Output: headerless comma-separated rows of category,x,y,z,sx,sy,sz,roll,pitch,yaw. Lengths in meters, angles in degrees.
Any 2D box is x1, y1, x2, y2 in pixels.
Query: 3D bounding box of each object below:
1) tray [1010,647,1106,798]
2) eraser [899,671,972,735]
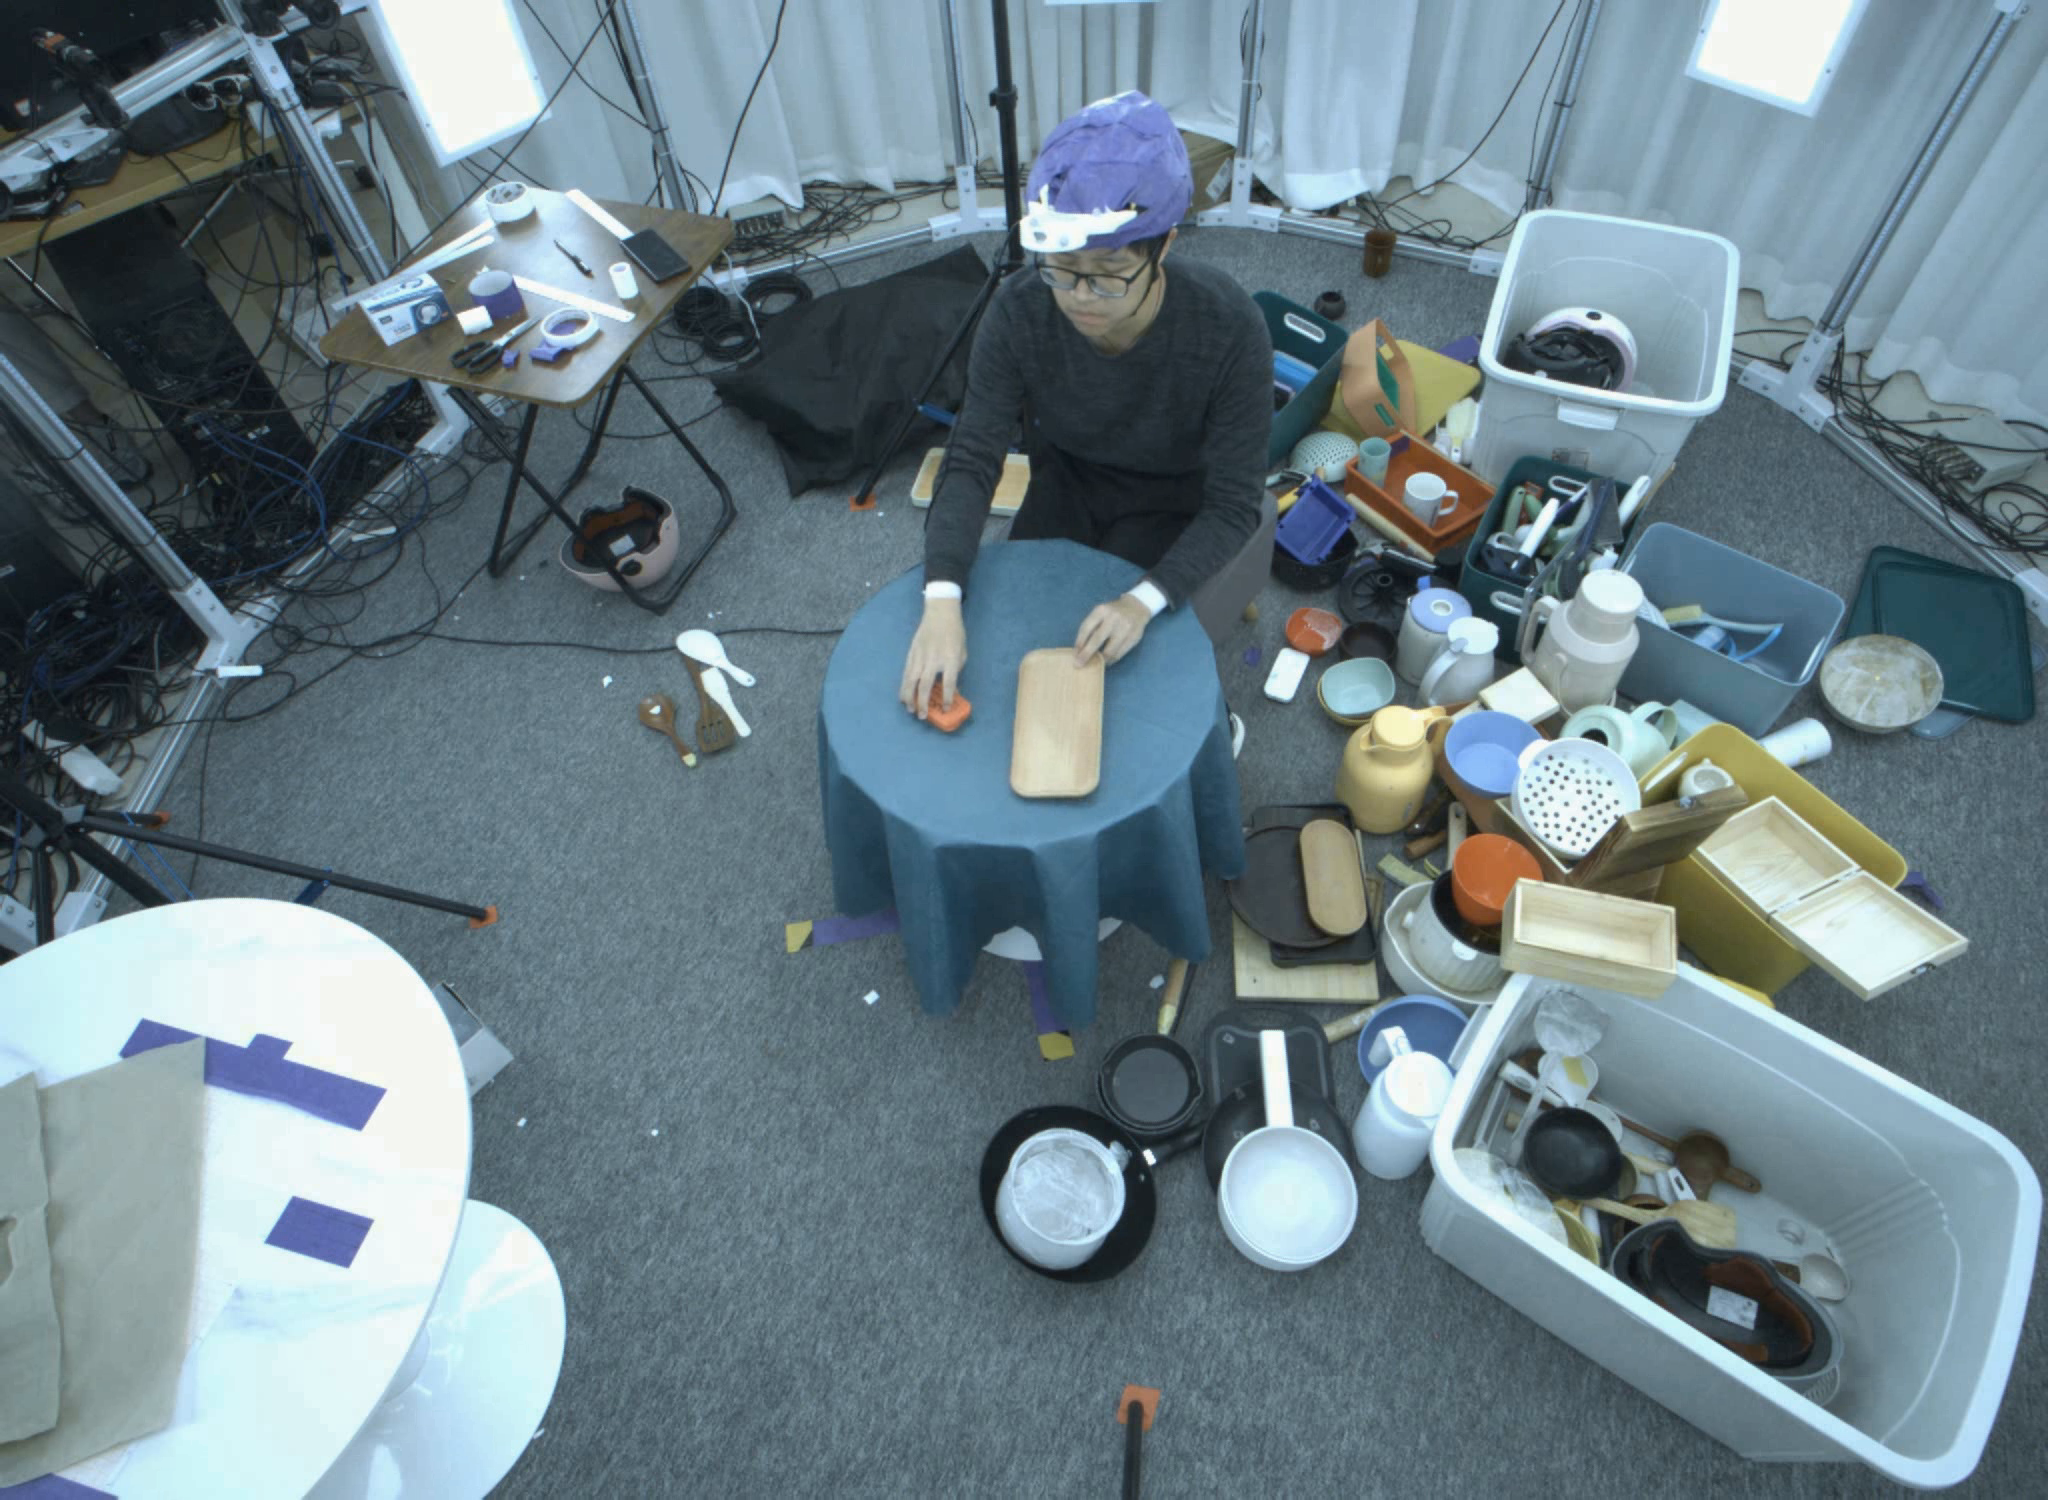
tray,0.051,-0.042,1.786,0.130,0.023,0.249,2,60,7
eraser,-0.132,-0.071,1.828,0.106,0.023,0.059,36,62,24
